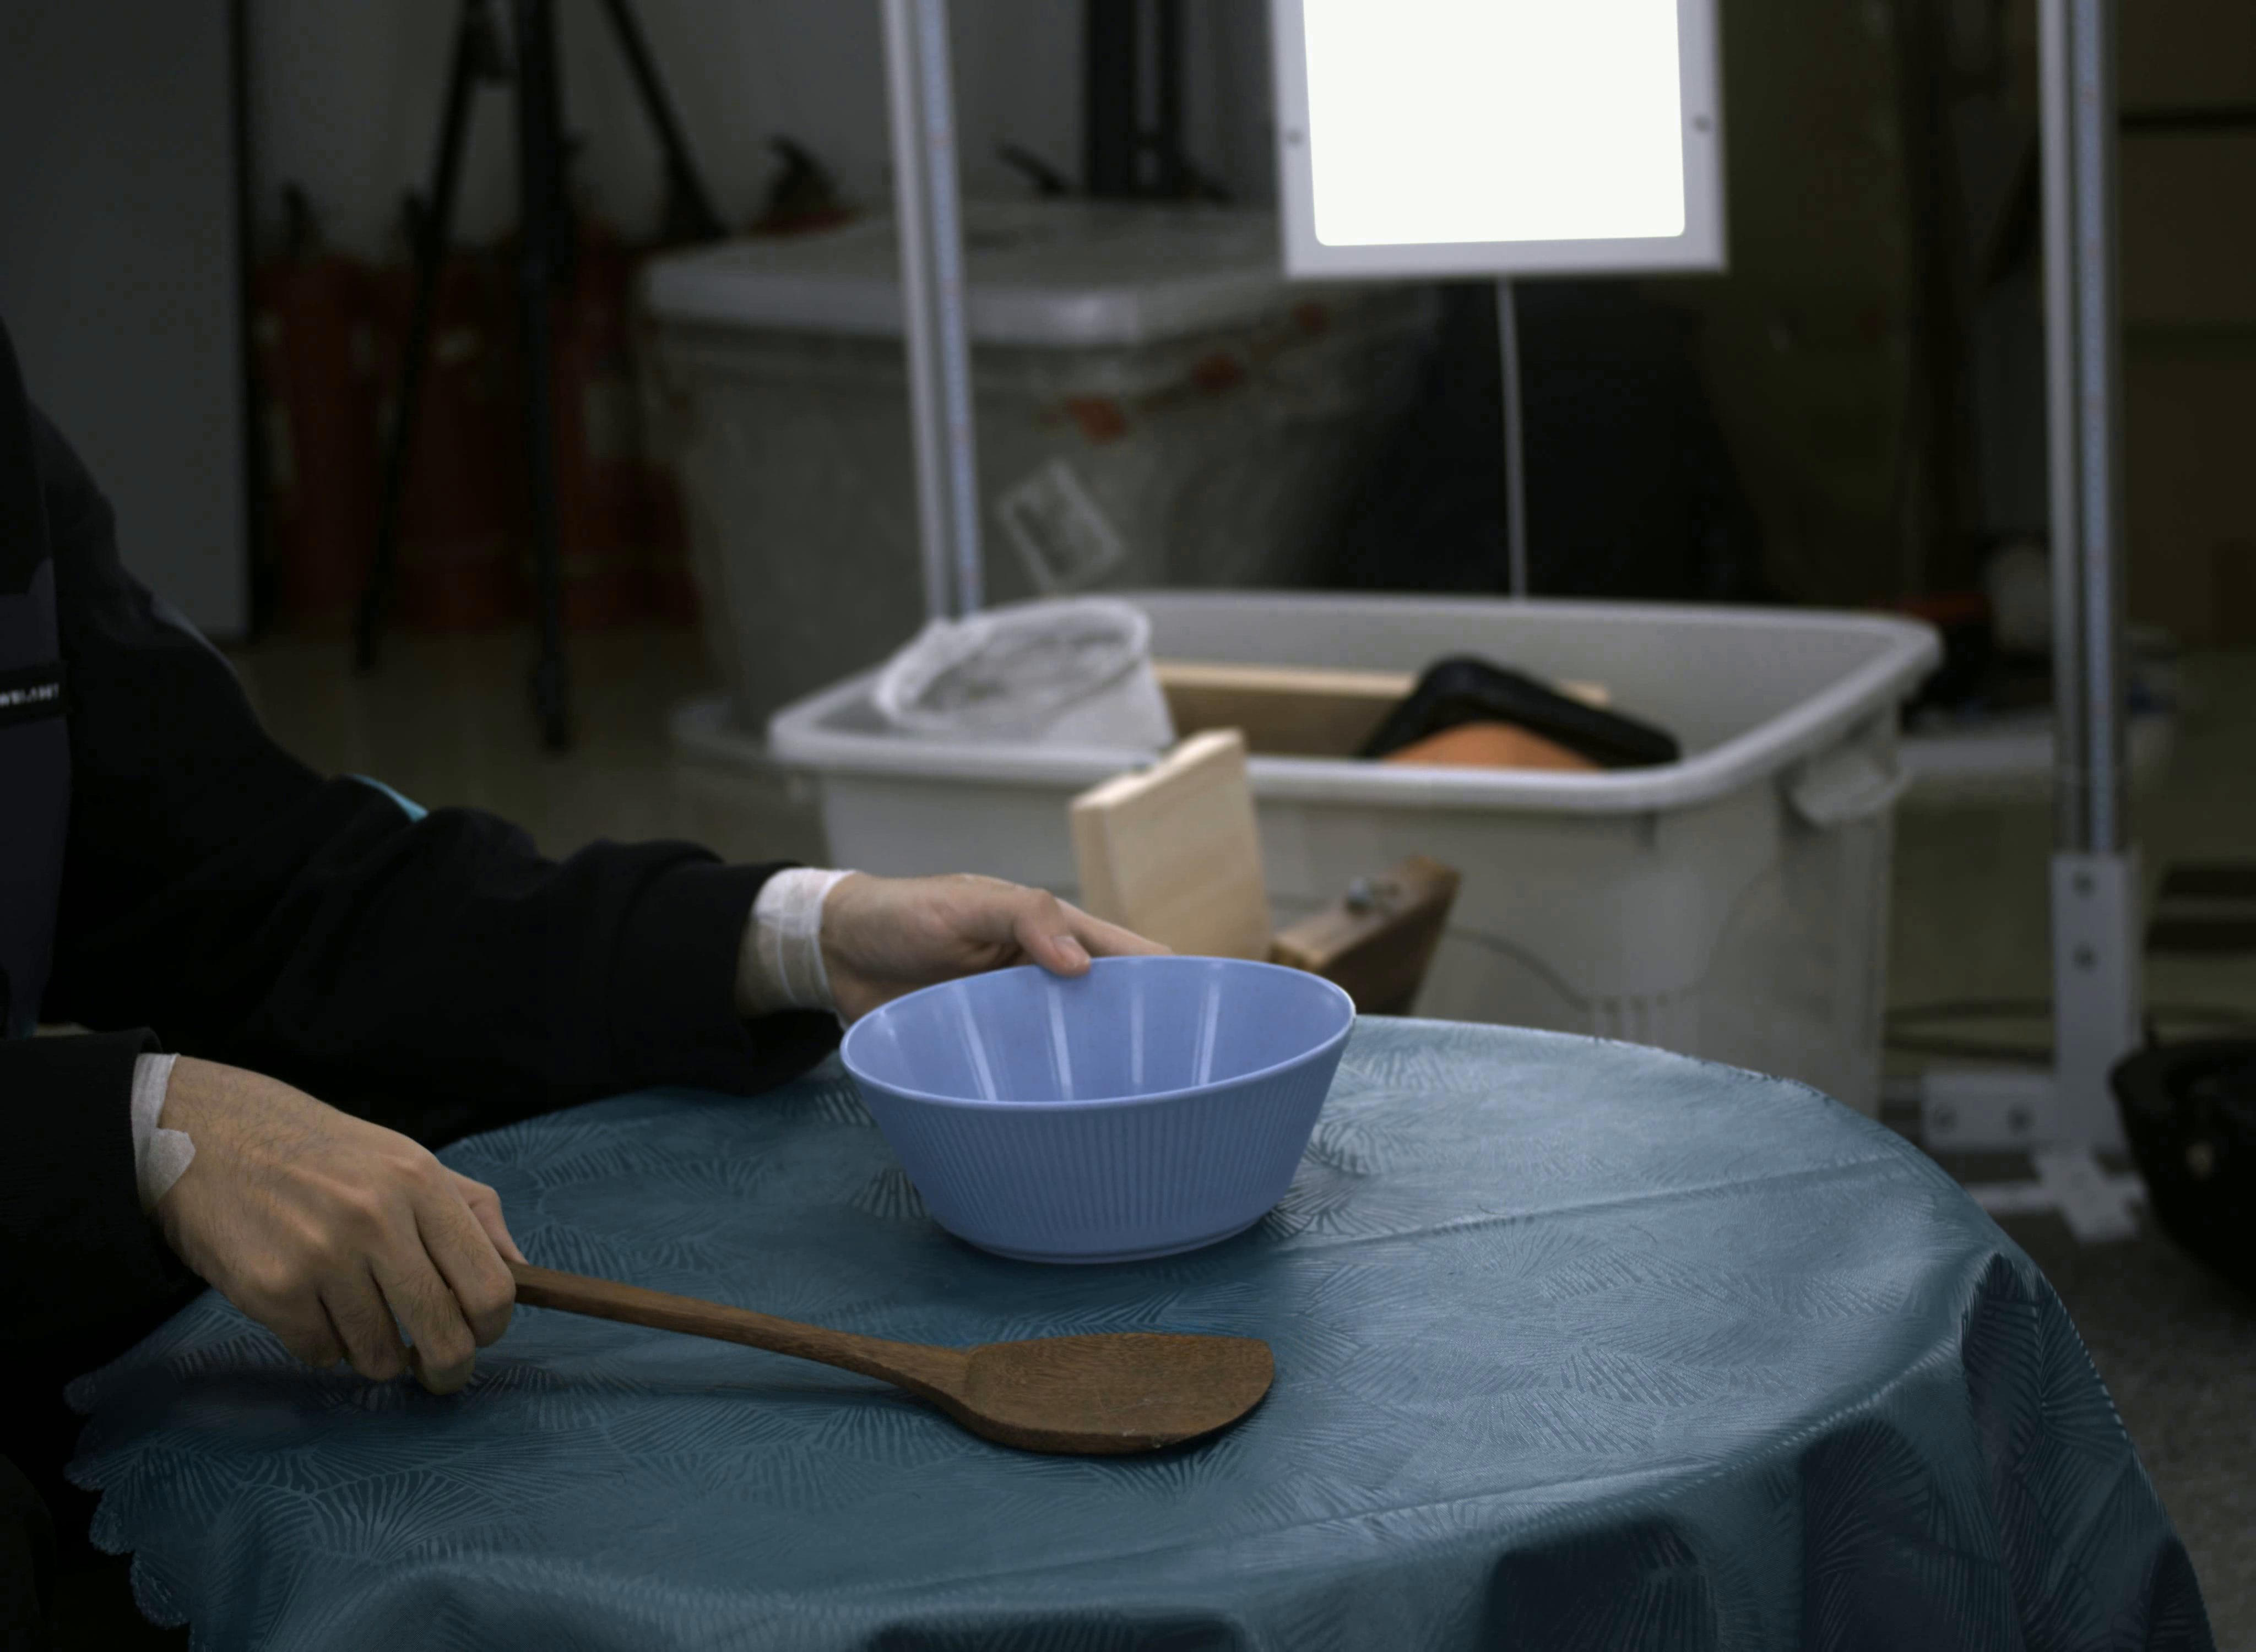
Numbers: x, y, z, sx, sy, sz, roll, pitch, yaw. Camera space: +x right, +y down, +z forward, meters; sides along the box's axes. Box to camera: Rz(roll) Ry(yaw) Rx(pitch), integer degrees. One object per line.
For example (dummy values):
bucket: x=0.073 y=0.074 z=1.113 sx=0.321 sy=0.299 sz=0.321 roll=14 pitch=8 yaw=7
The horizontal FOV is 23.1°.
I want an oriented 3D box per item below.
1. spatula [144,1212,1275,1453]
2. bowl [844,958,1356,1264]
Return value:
spatula: x=-0.140 y=0.155 z=1.742 sx=0.391 sy=0.016 sz=0.094 roll=8 pitch=17 yaw=21
bowl: x=-0.007 y=0.099 z=1.866 sx=0.175 sy=0.070 sz=0.176 roll=-6 pitch=13 yaw=0
